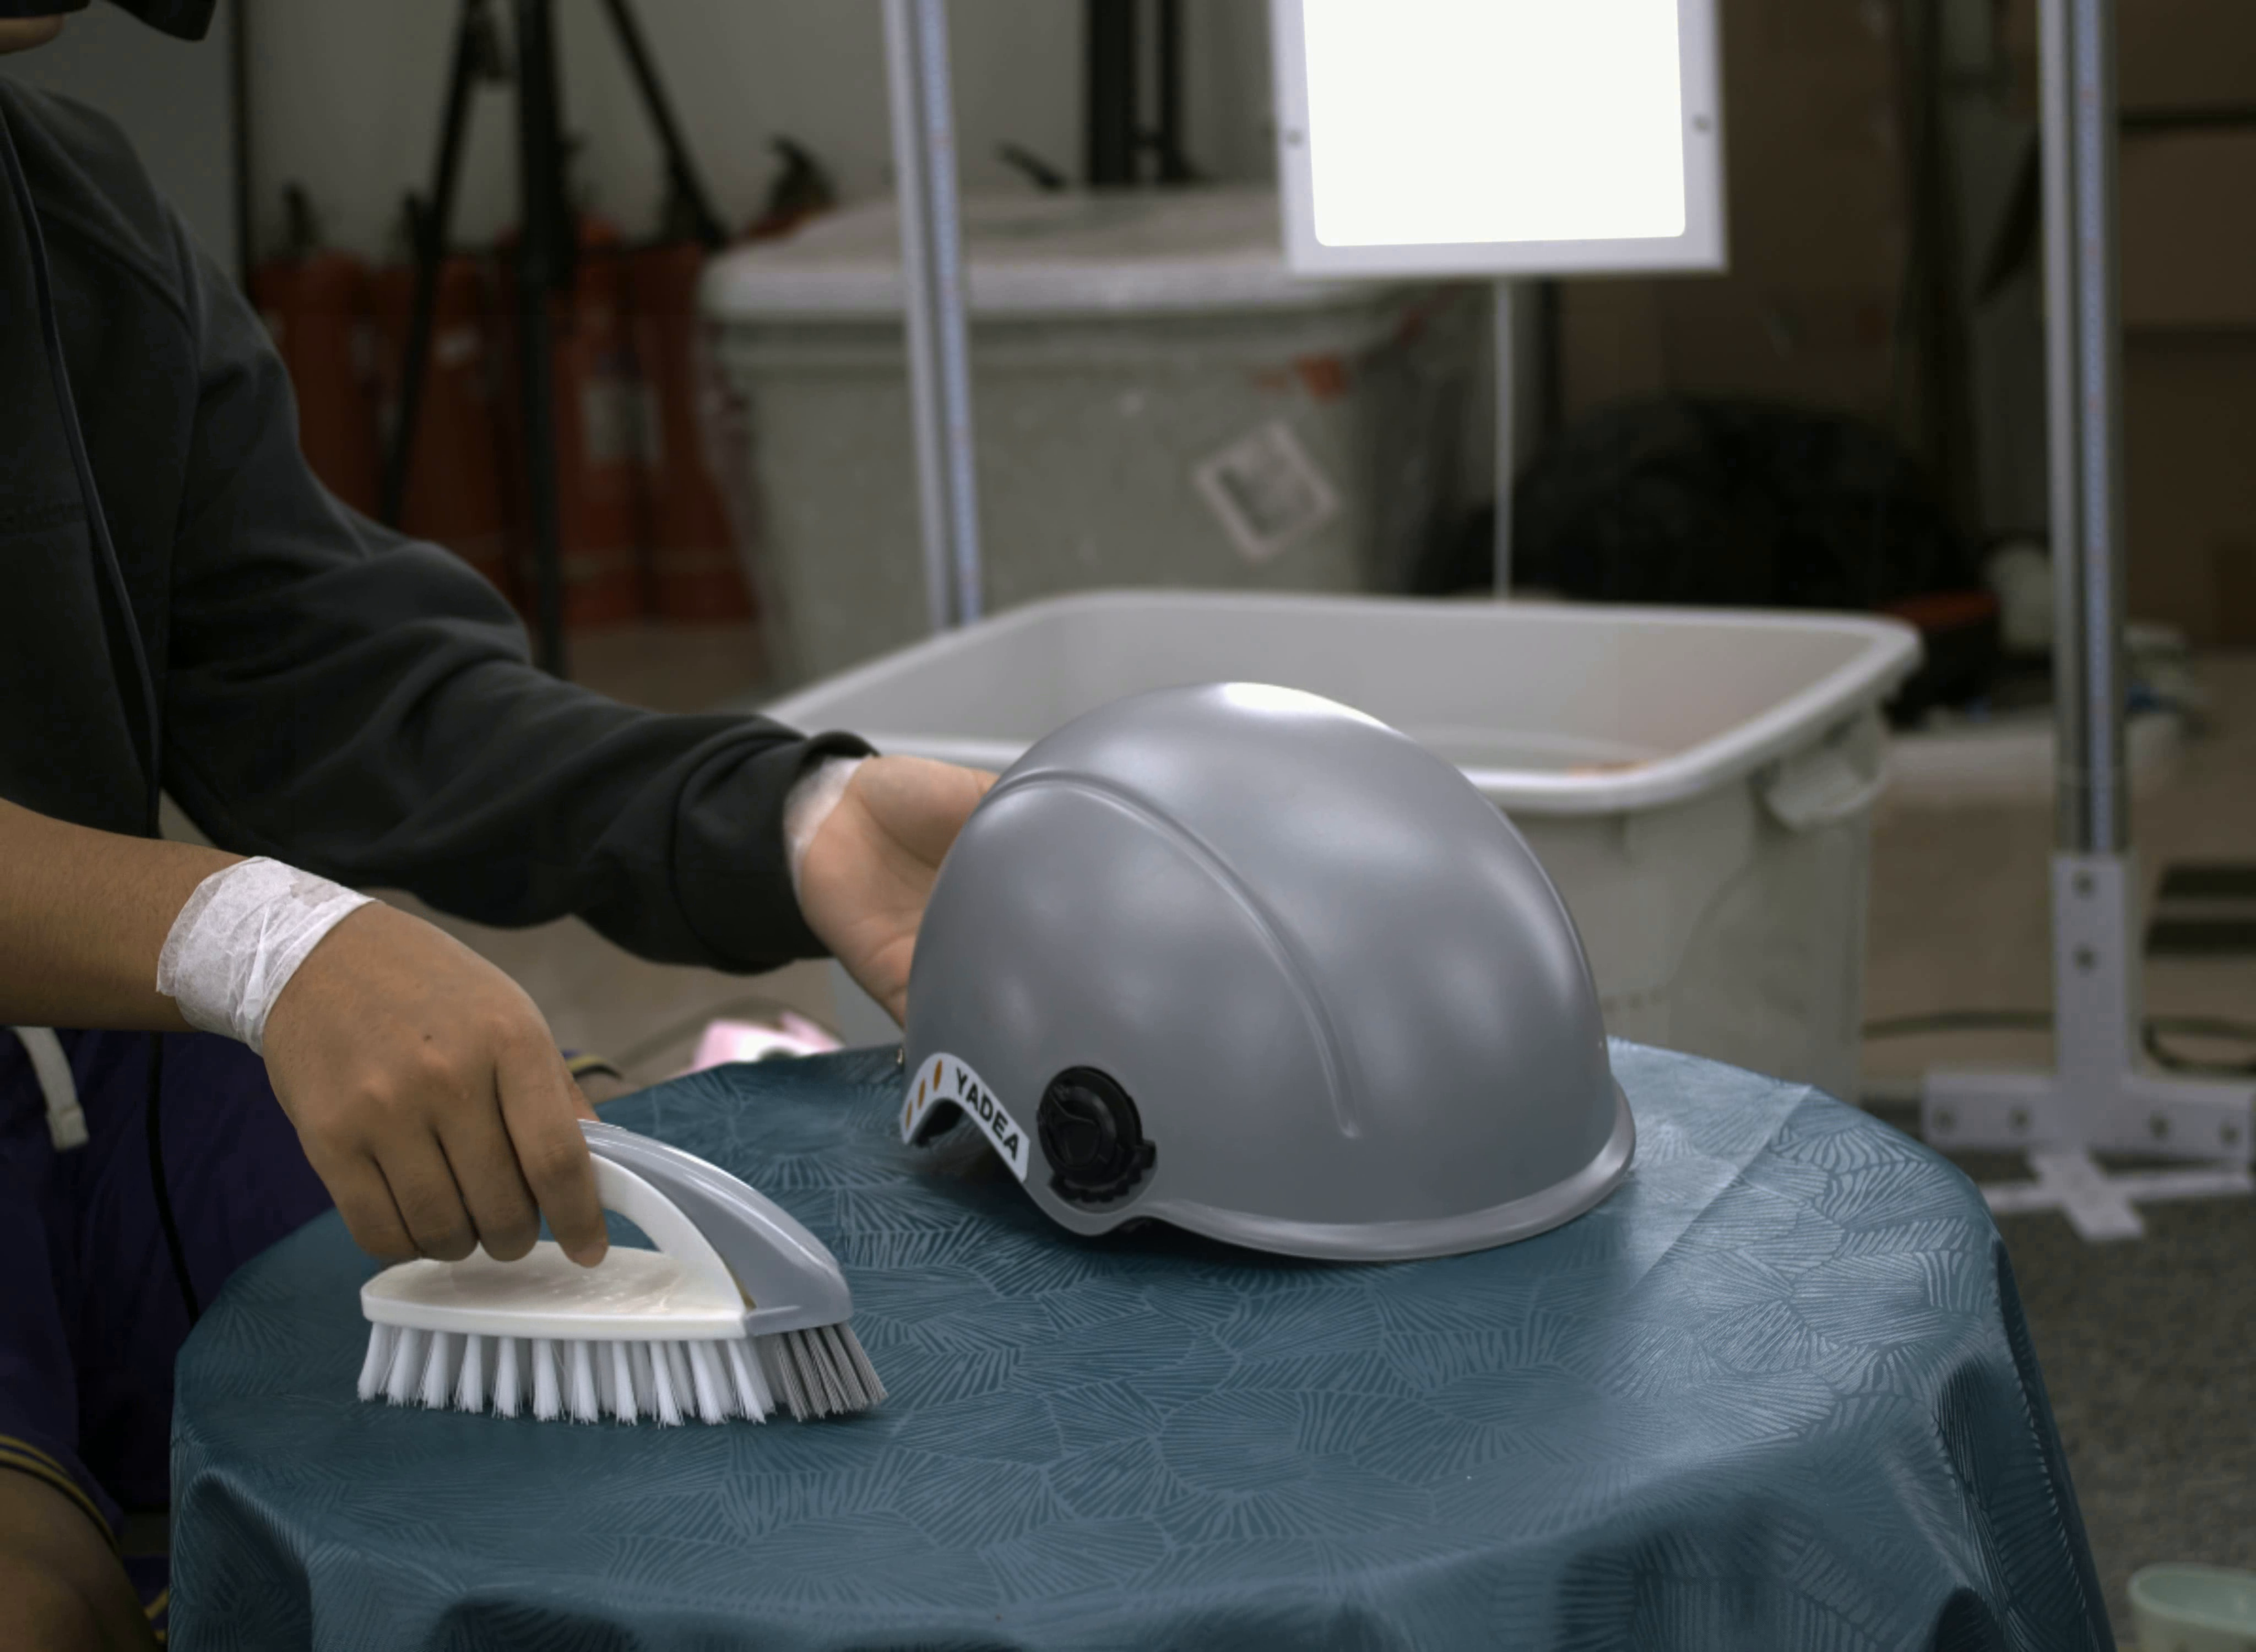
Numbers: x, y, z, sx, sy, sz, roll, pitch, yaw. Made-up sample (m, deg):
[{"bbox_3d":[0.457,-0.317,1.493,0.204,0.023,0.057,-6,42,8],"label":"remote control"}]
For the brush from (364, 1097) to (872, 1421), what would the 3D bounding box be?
[{"bbox_3d":[-0.160,0.133,1.729,0.178,0.094,0.060,7,20,27],"label":"brush"}]

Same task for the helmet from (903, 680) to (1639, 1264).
[{"bbox_3d":[0.046,0.038,1.898,0.226,0.169,0.282,-18,21,-35],"label":"helmet"}]
